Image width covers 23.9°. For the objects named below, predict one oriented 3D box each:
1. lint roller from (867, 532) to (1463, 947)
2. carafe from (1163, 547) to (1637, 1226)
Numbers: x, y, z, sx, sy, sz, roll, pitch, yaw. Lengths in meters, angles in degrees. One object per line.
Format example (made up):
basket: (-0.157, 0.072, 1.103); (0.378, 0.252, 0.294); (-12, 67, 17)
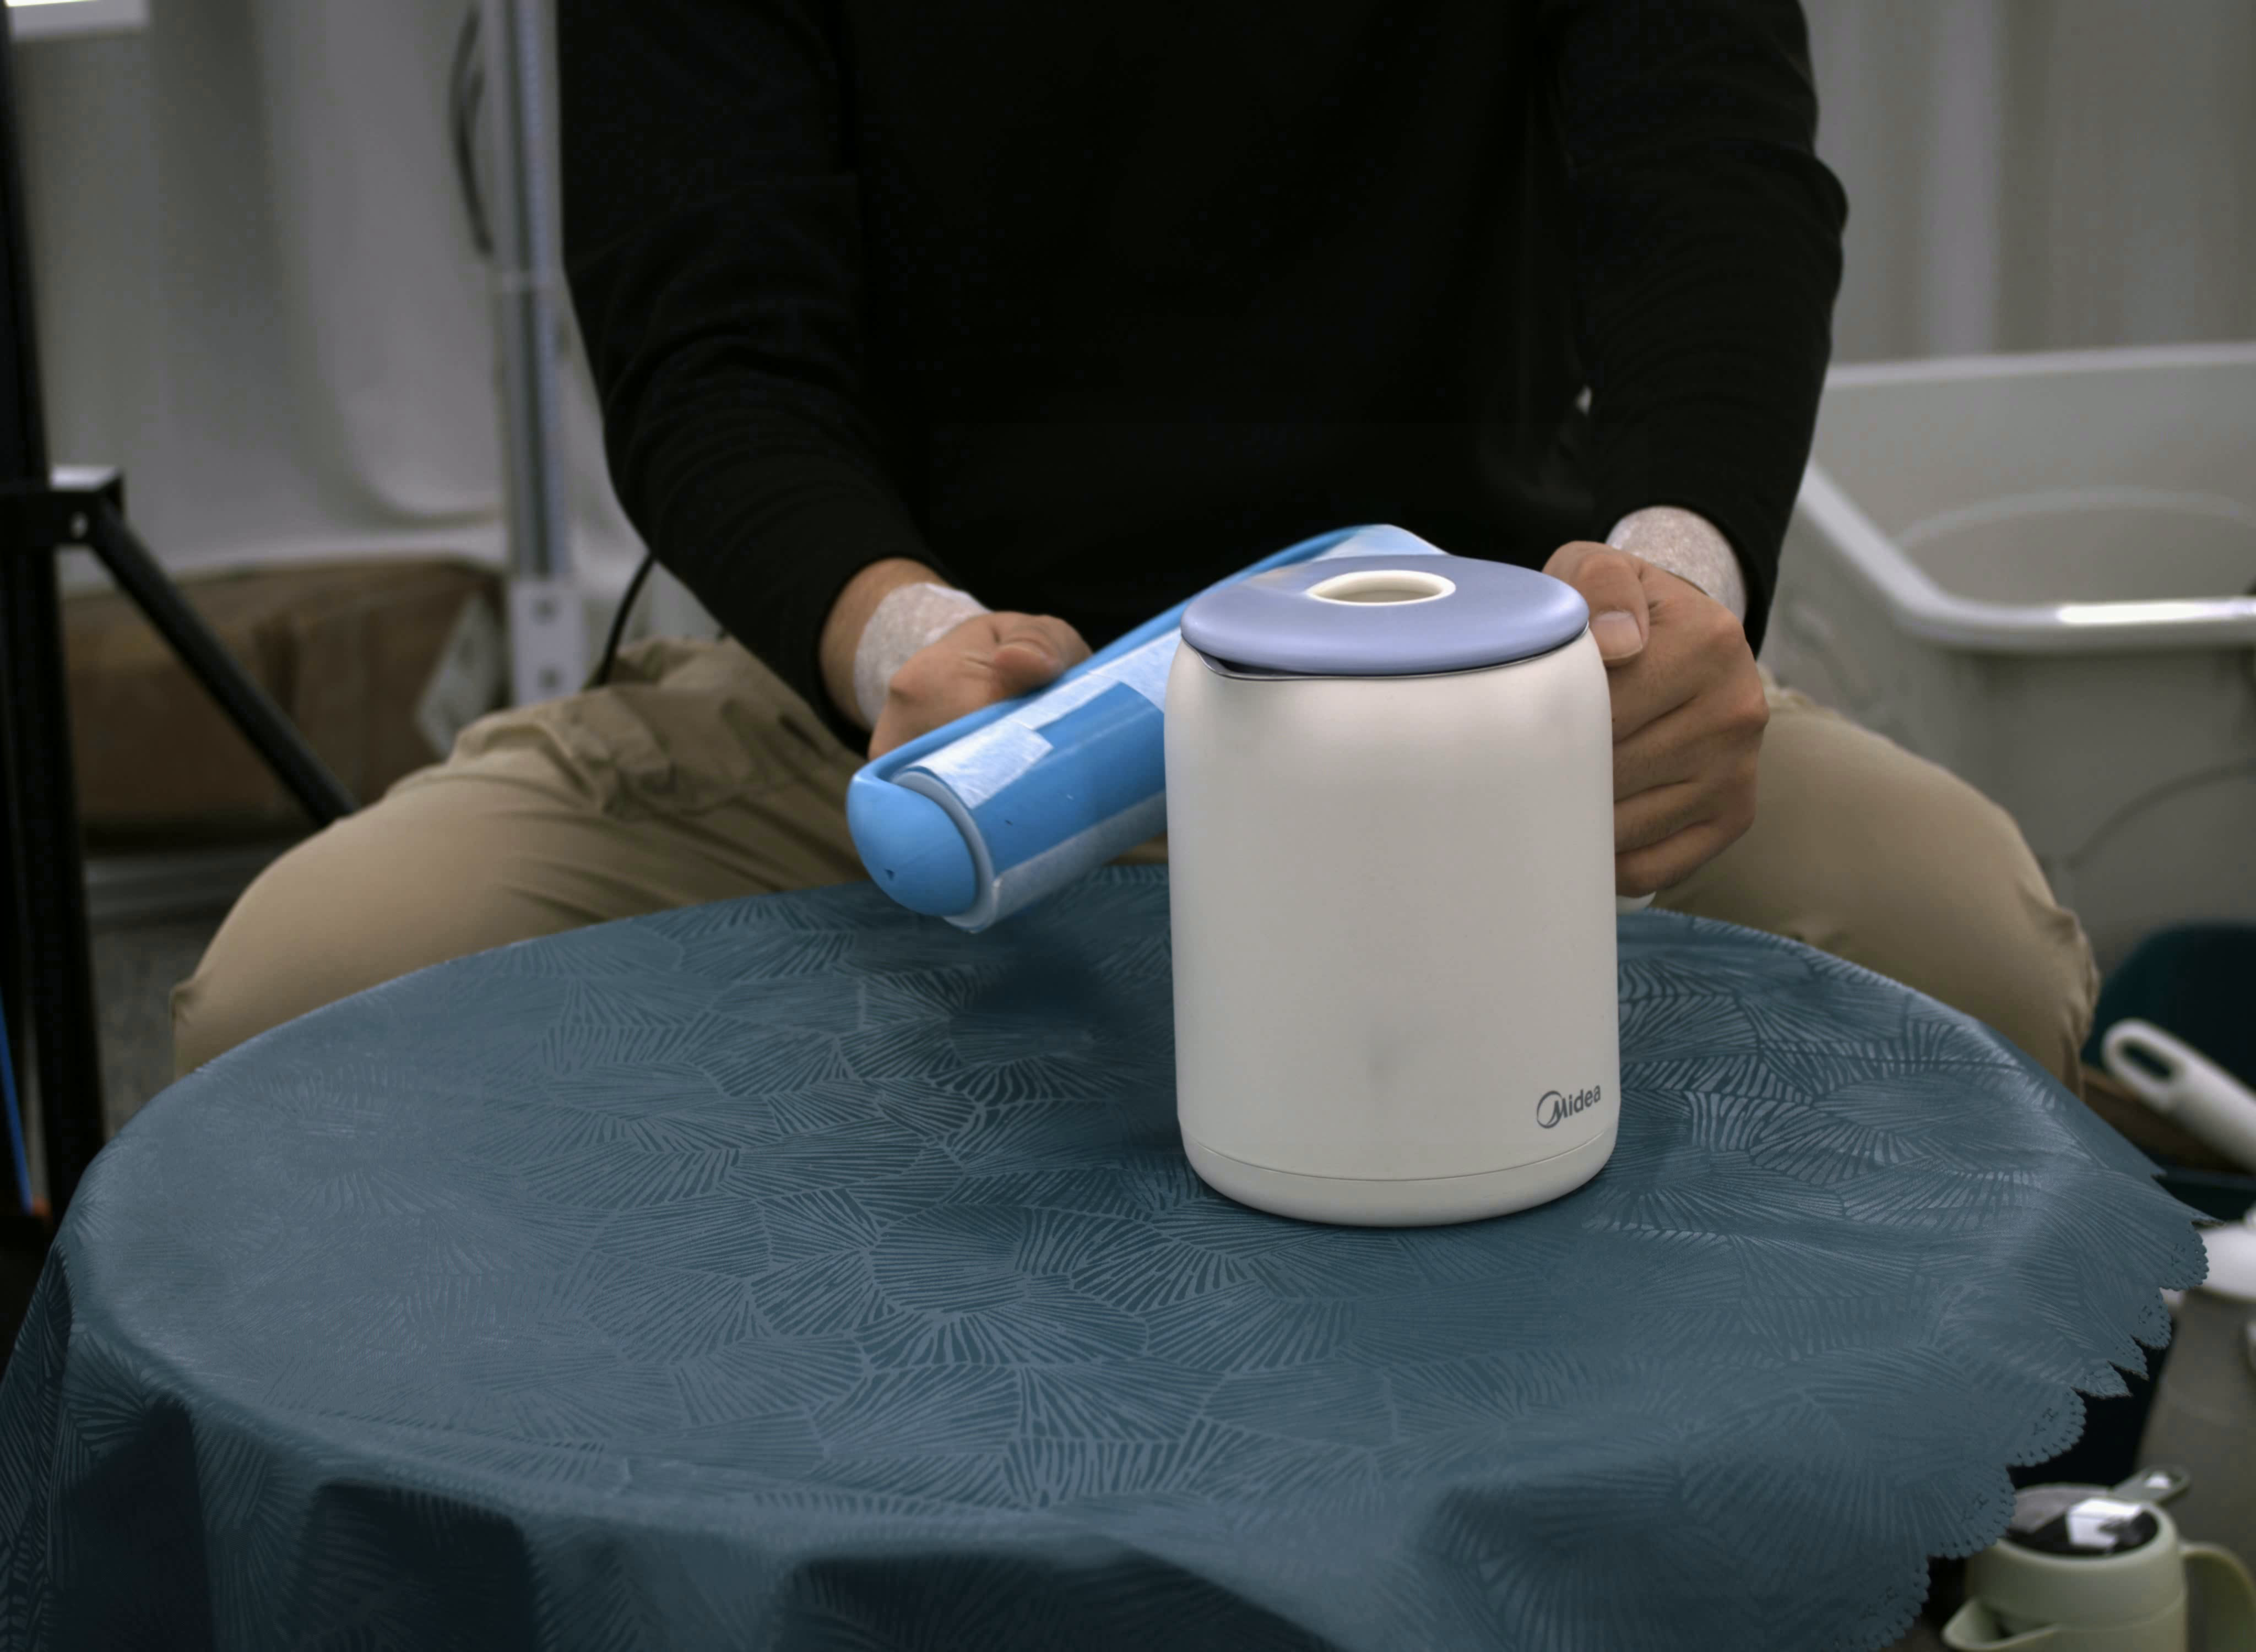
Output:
lint roller: (-0.009, -0.017, 1.680); (0.225, 0.068, 0.183); (-31, 6, -31)
carafe: (0.093, 0.012, 1.567); (0.135, 0.182, 0.187); (12, 19, 40)
